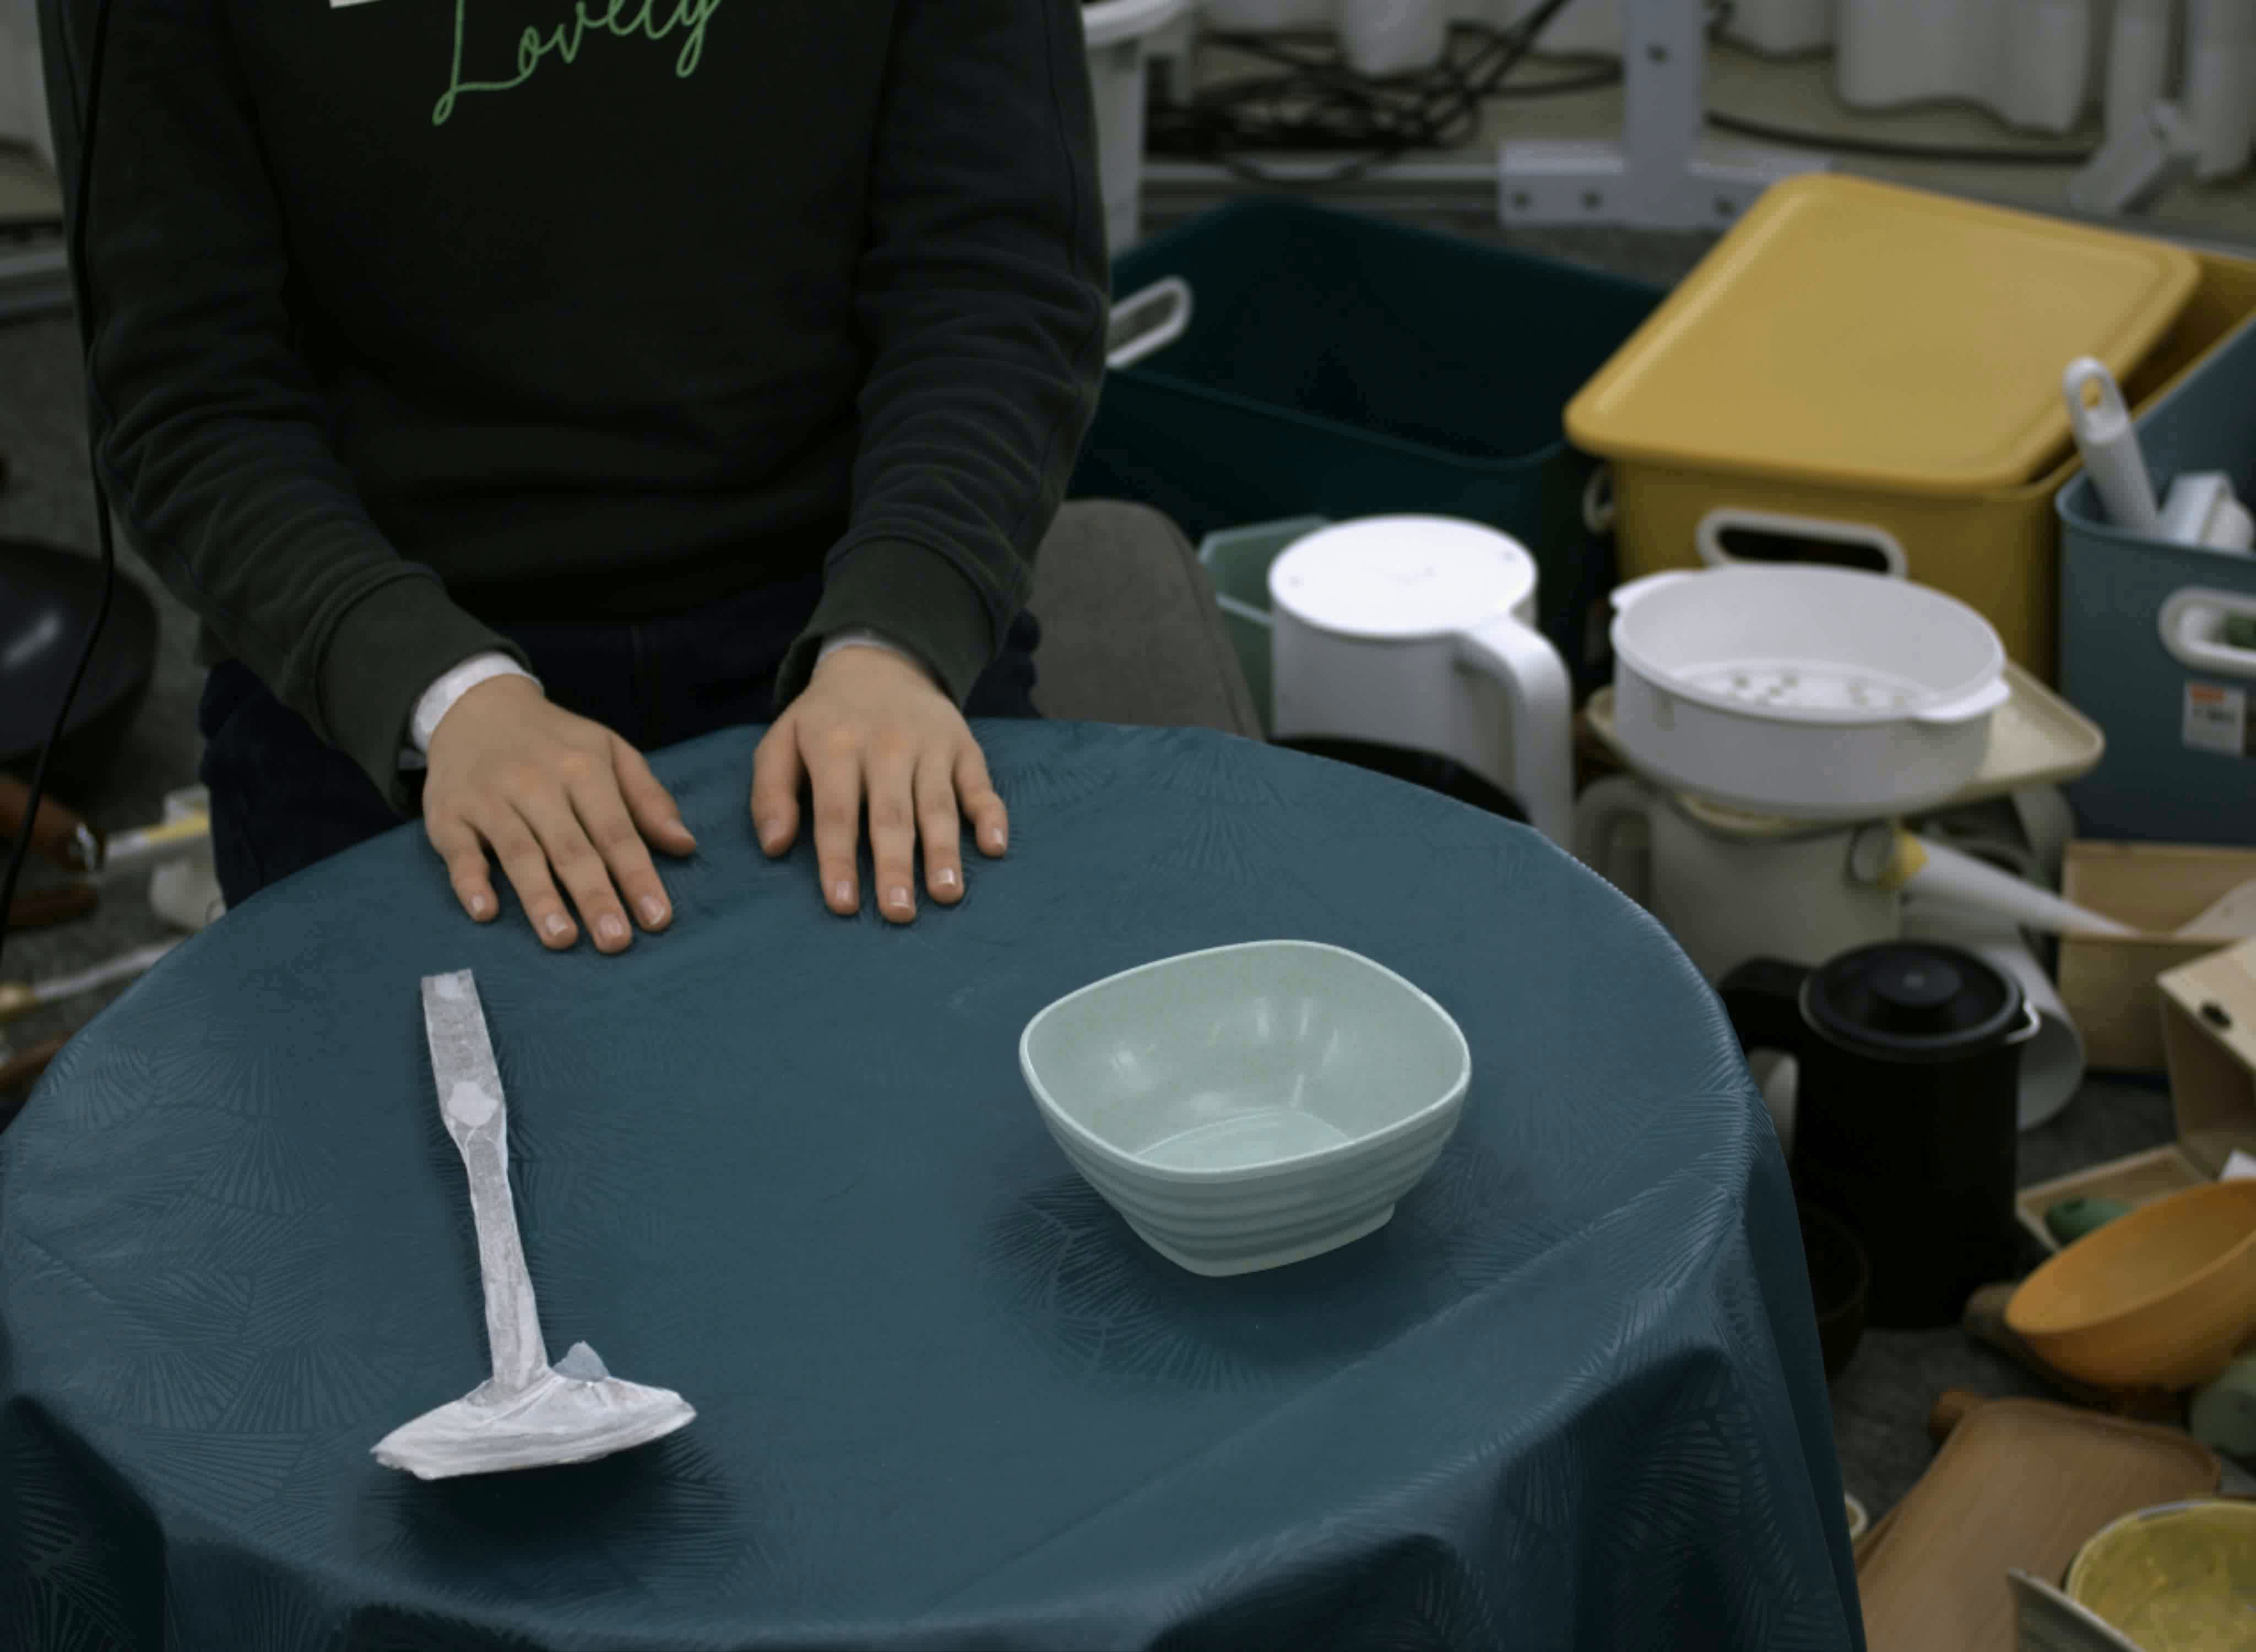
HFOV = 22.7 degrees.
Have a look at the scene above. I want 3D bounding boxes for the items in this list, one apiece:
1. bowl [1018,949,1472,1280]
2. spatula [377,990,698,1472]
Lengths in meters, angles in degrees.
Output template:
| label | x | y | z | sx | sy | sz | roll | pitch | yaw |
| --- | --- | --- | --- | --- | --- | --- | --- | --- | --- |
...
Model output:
| label | x | y | z | sx | sy | sz | roll | pitch | yaw |
| --- | --- | --- | --- | --- | --- | --- | --- | --- | --- |
| bowl | 0.038 | 0.100 | 1.840 | 0.151 | 0.058 | 0.154 | 0 | 26 | 0 |
| spatula | -0.203 | 0.124 | 1.835 | 0.098 | 0.044 | 0.369 | -9 | 28 | -7 |
